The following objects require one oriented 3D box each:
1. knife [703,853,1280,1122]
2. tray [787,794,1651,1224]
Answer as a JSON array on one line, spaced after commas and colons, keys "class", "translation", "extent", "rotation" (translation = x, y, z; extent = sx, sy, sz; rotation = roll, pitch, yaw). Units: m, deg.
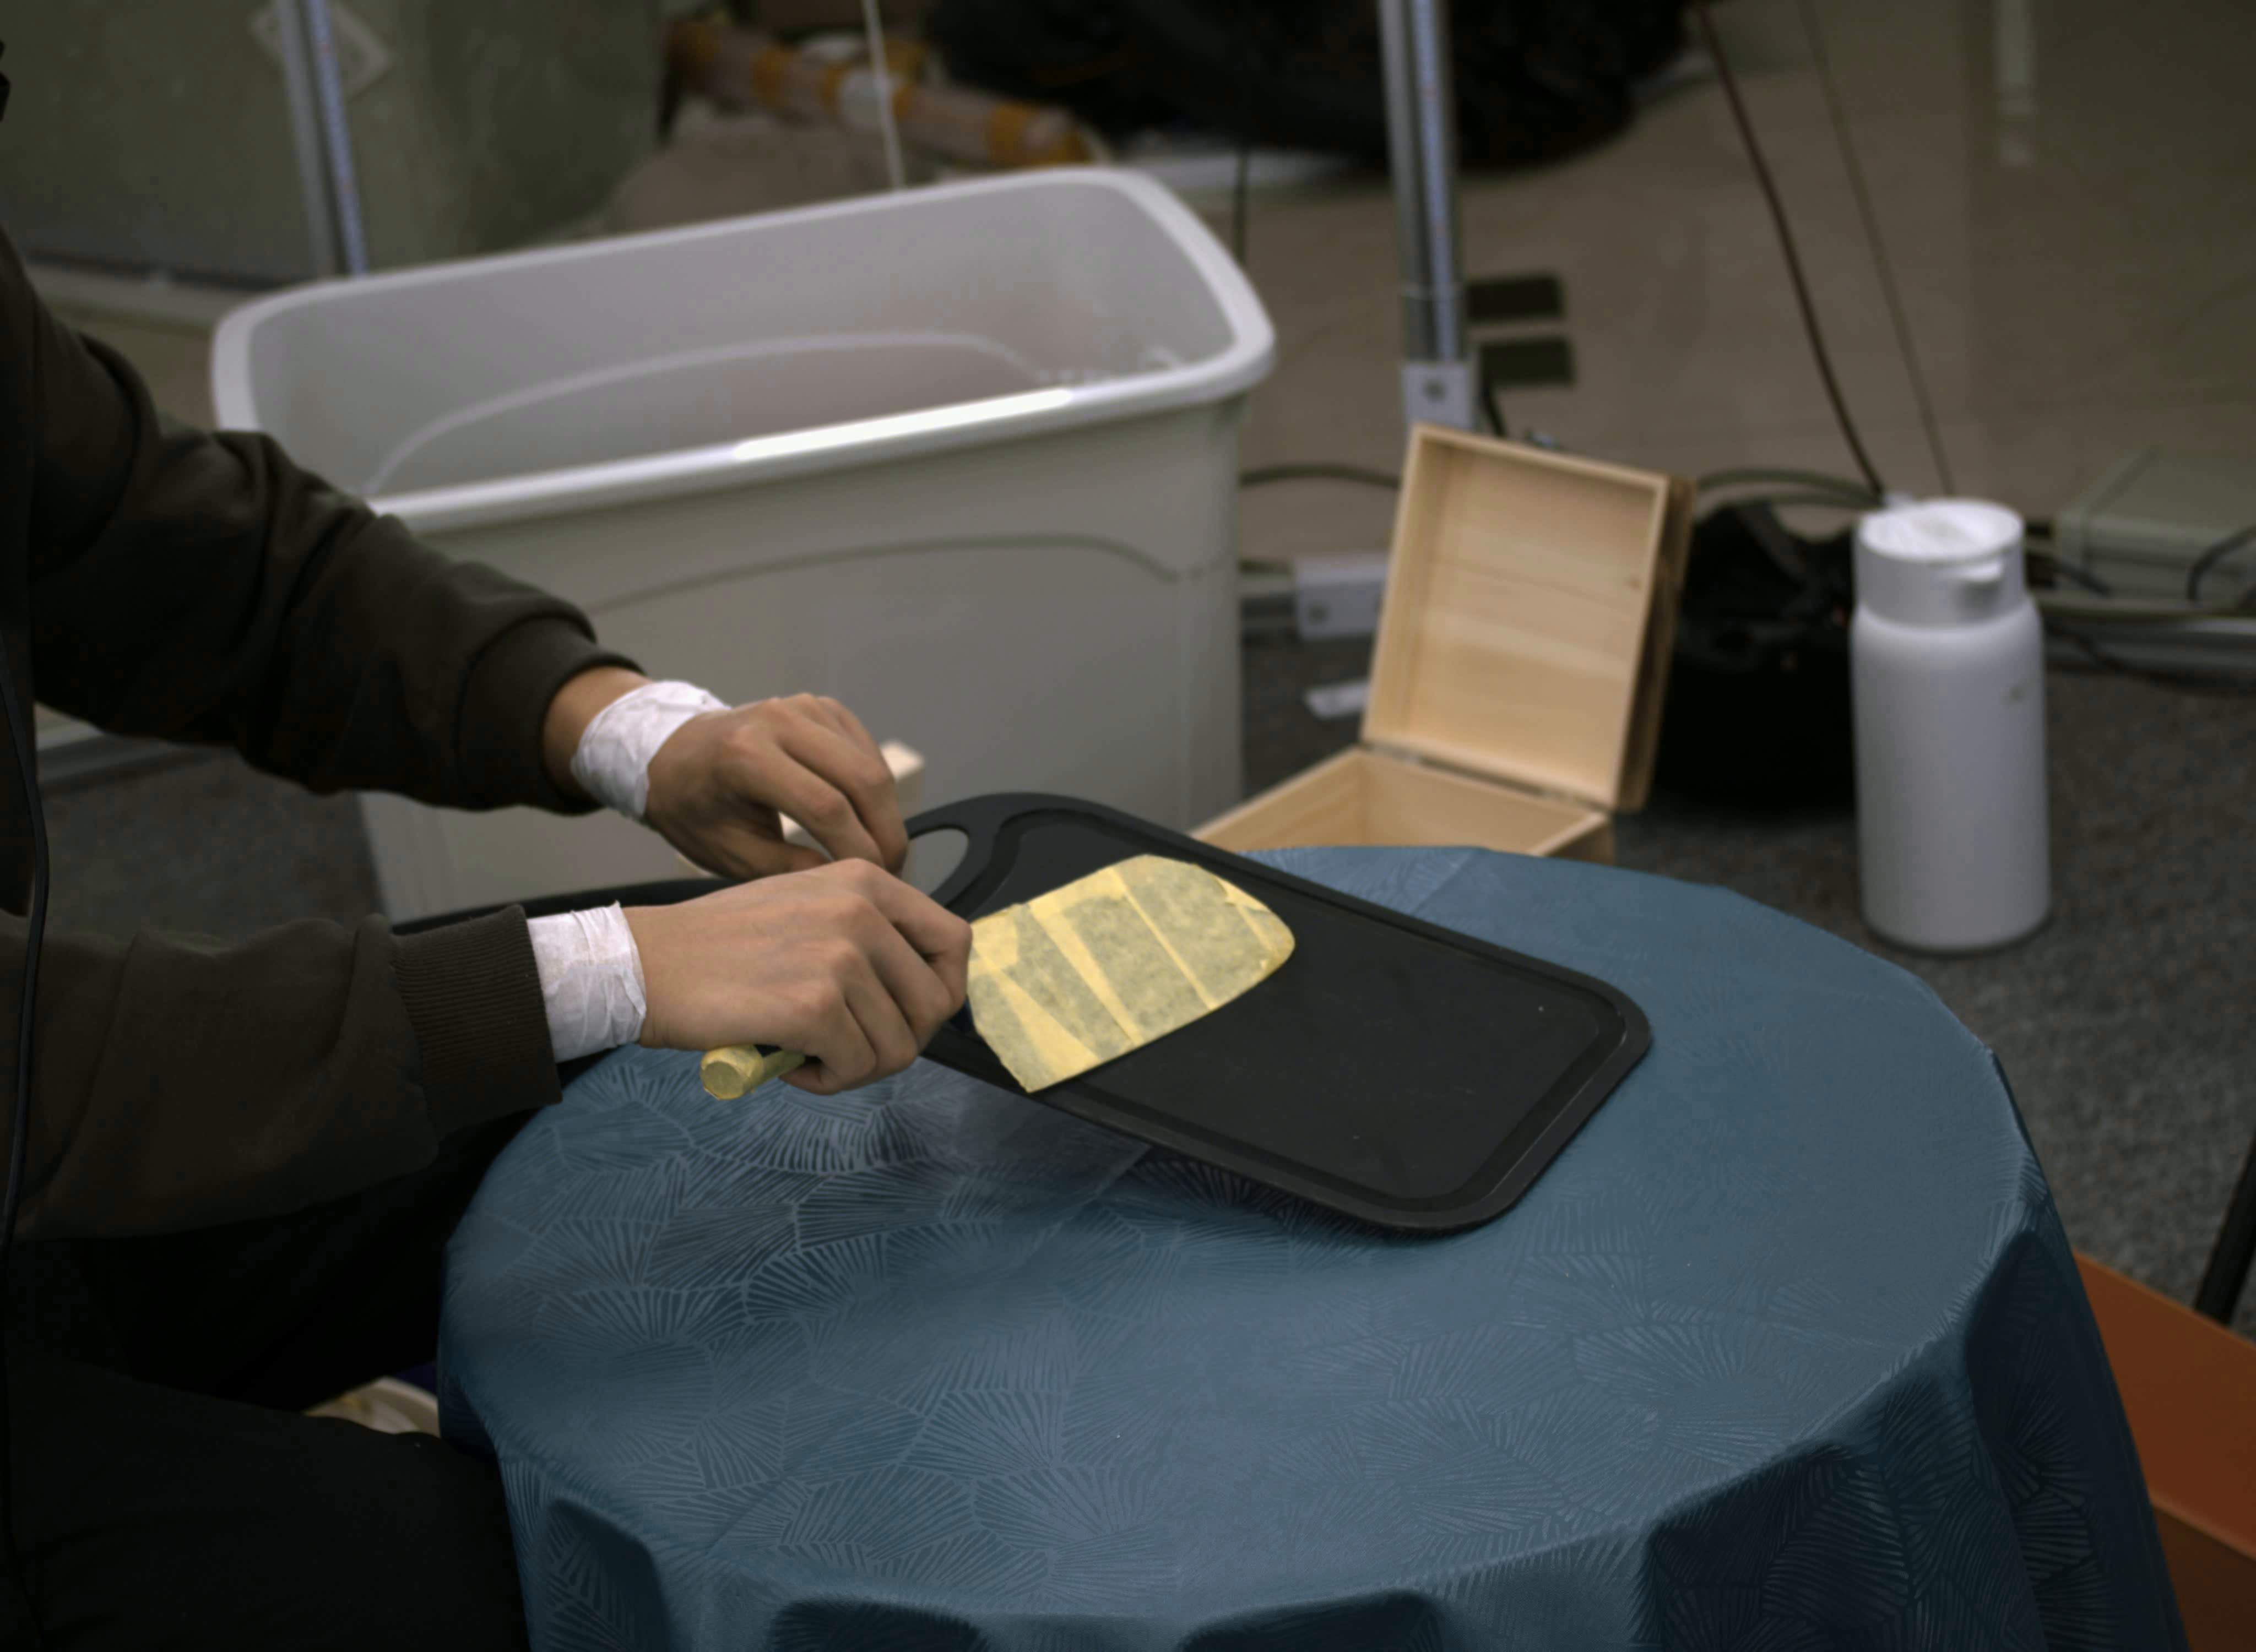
[{"class": "knife", "translation": [-0.044, 0.068, 2.156], "extent": [0.287, 0.027, 0.080], "rotation": [-20, 67, -40]}, {"class": "tray", "translation": [0.029, 0.064, 2.212], "extent": [0.323, 0.010, 0.208], "rotation": [20, 33, 20]}]
